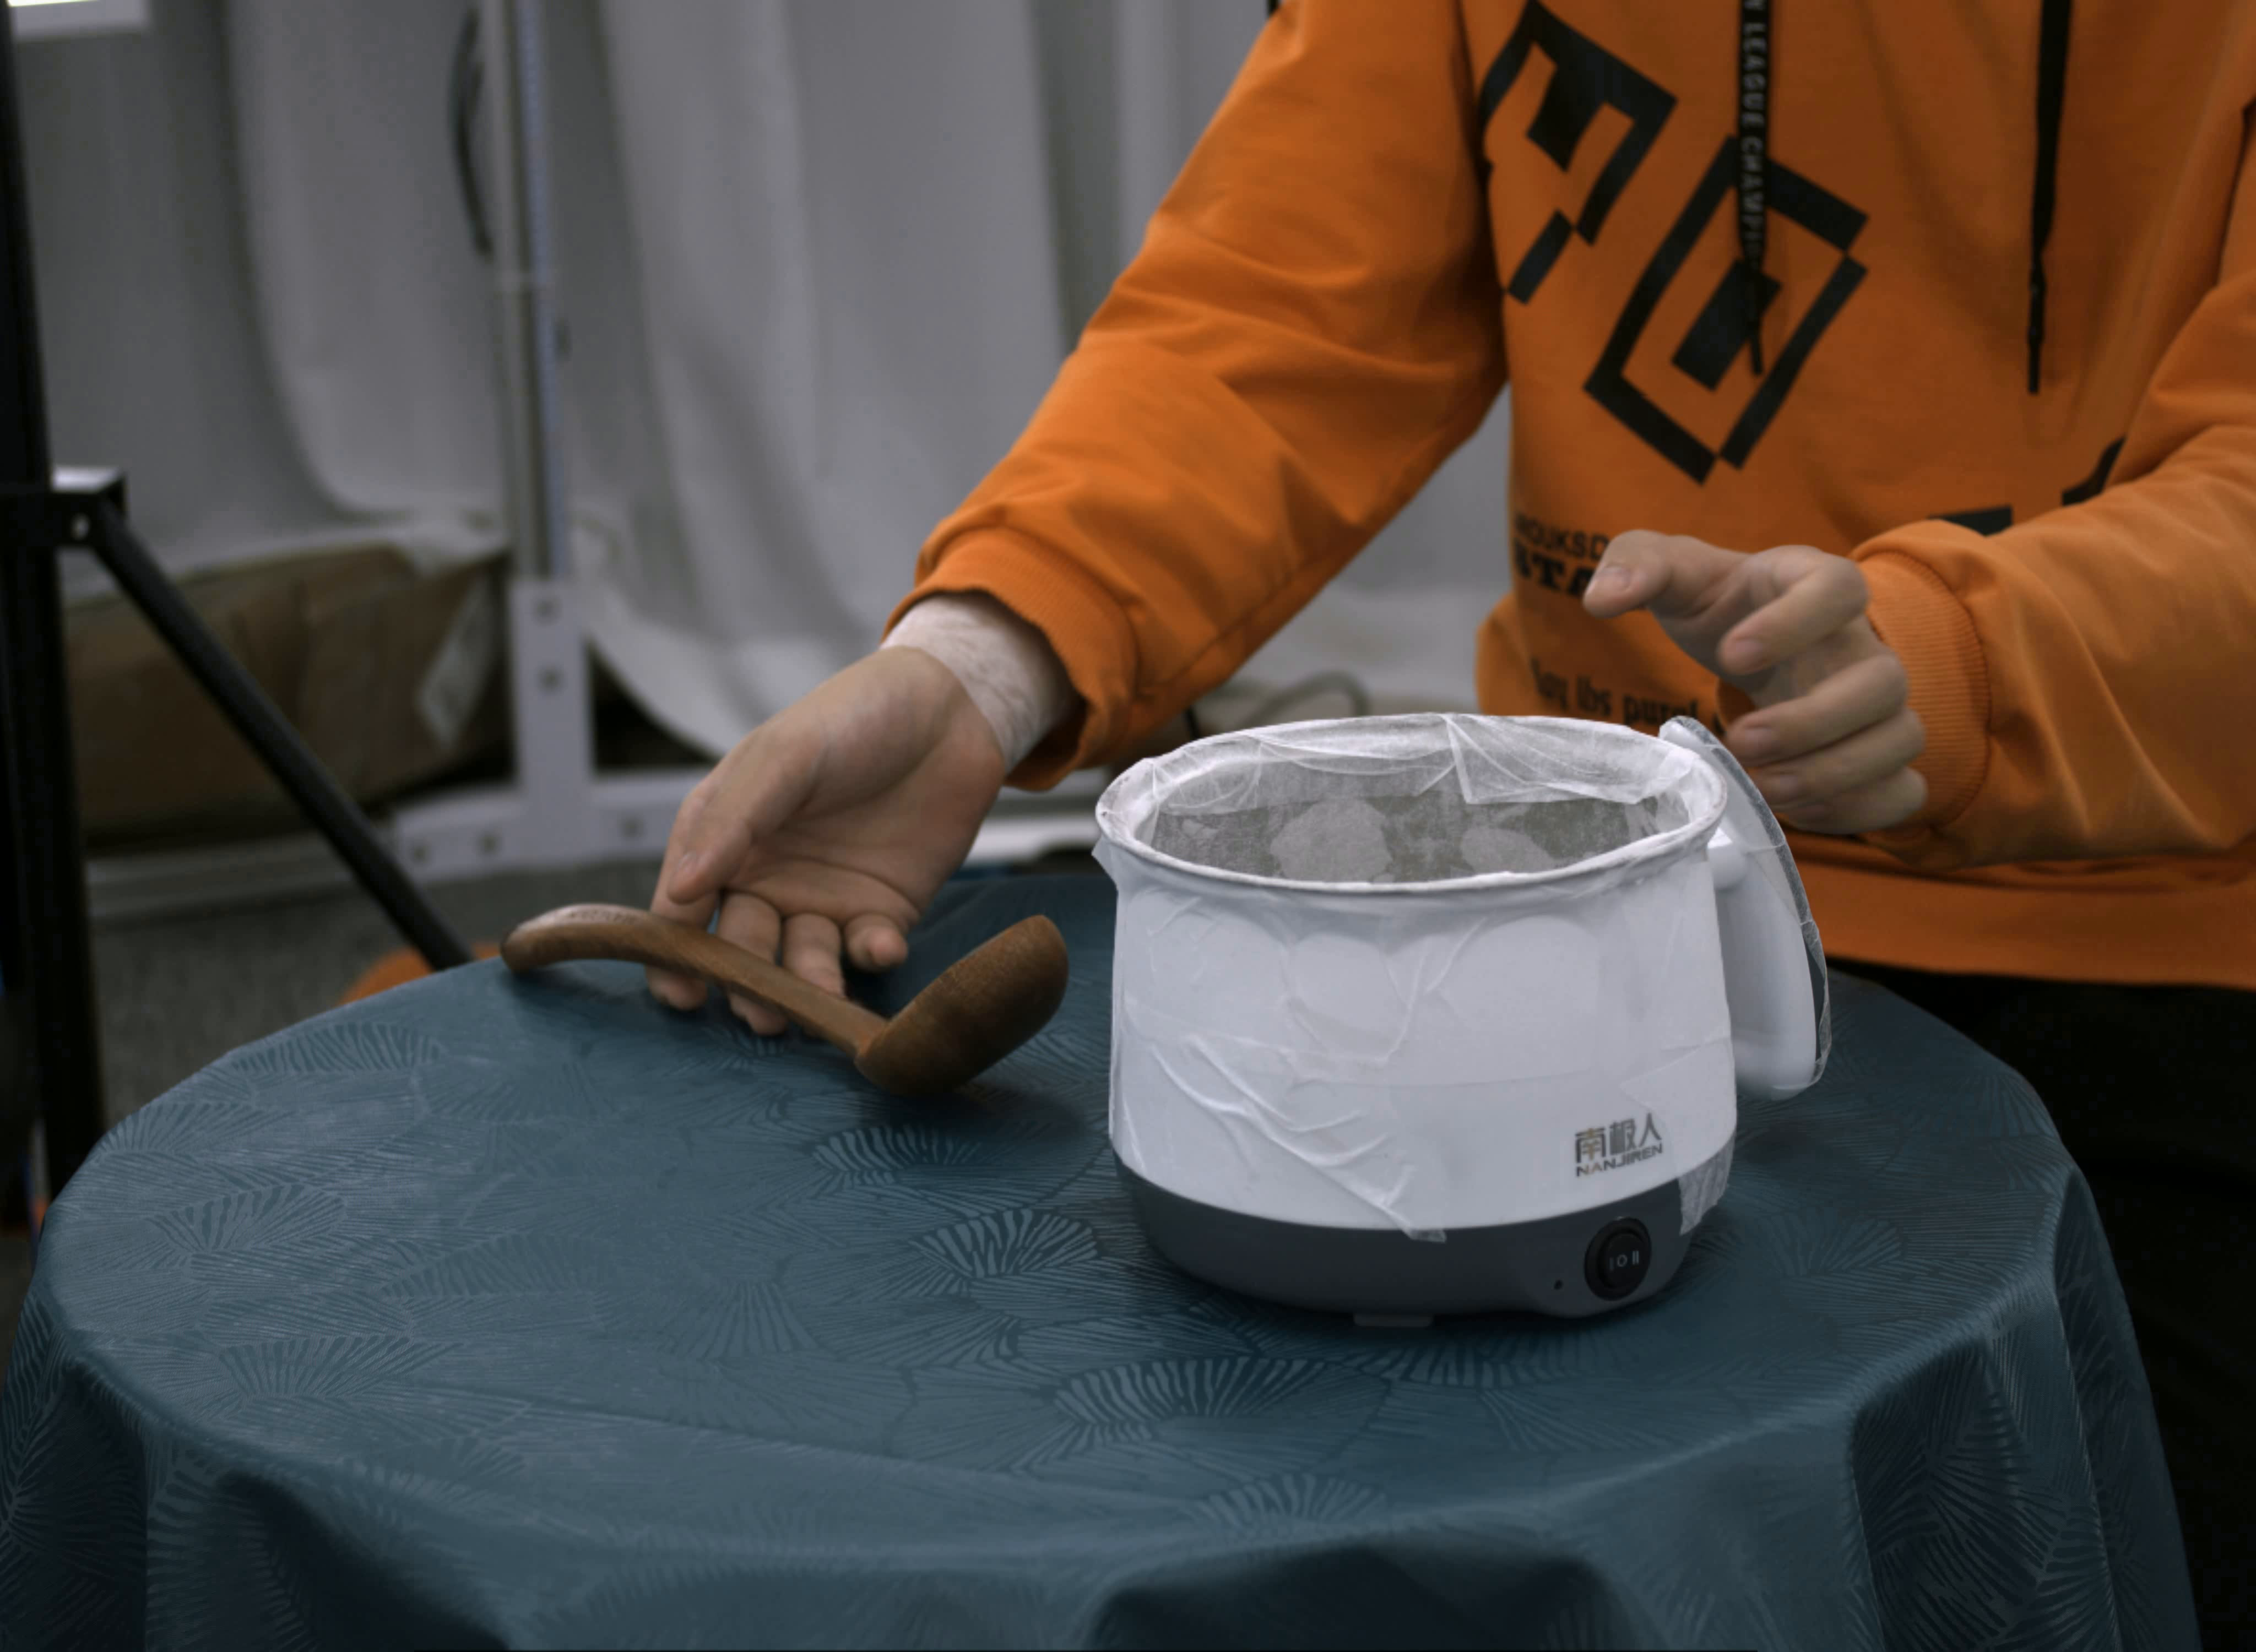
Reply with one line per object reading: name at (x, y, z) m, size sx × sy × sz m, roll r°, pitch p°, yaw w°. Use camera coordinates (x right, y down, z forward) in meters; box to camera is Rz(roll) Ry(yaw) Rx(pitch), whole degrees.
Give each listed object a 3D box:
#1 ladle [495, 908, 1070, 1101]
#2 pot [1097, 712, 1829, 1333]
ladle at (-0.120, 0.040, 1.702) m, size 0.075 × 0.065 × 0.266 m, roll -23°, pitch 26°, yaw -39°
pot at (0.104, 0.048, 1.503) m, size 0.228 × 0.136 × 0.183 m, roll -13°, pitch 19°, yaw -33°
